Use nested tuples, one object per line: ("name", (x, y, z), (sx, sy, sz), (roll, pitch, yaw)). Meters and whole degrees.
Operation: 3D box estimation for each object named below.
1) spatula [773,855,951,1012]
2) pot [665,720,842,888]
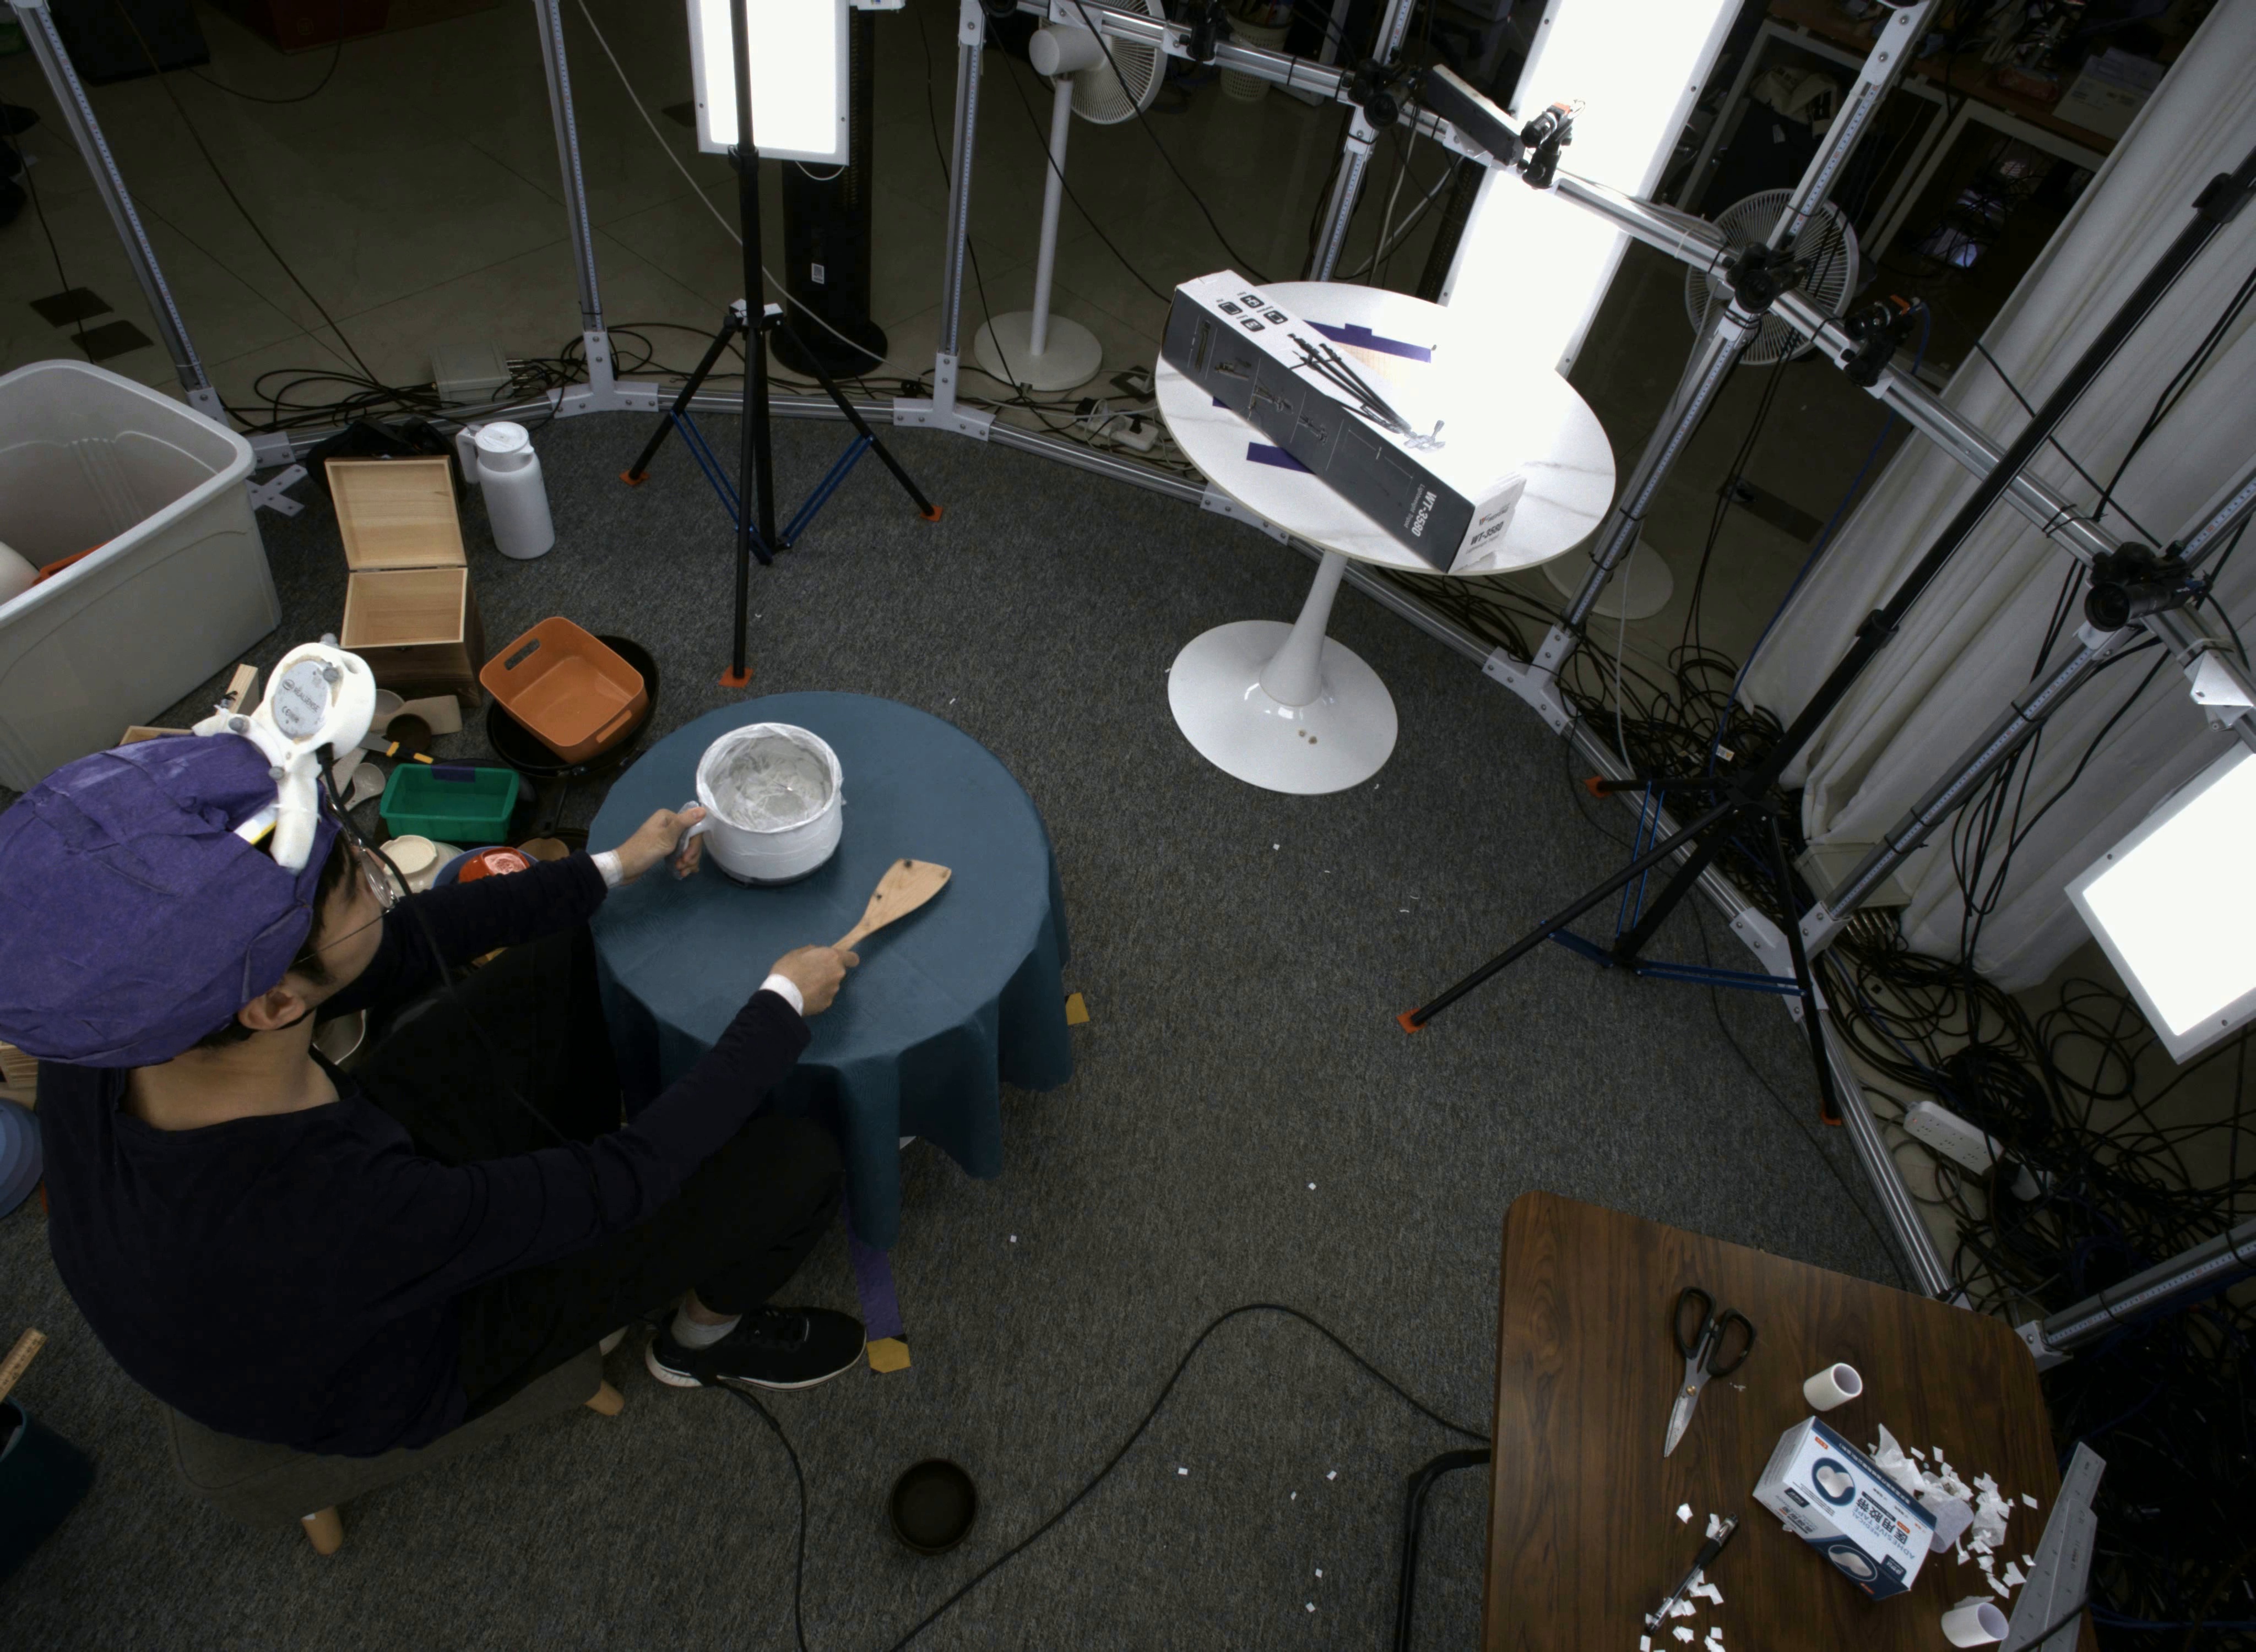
("spatula", (-0.336, 0.126, 1.617), (0.078, 0.017, 0.326), (23, 38, 15))
("pot", (-0.477, -0.016, 1.641), (0.235, 0.139, 0.174), (-27, 62, -31))
